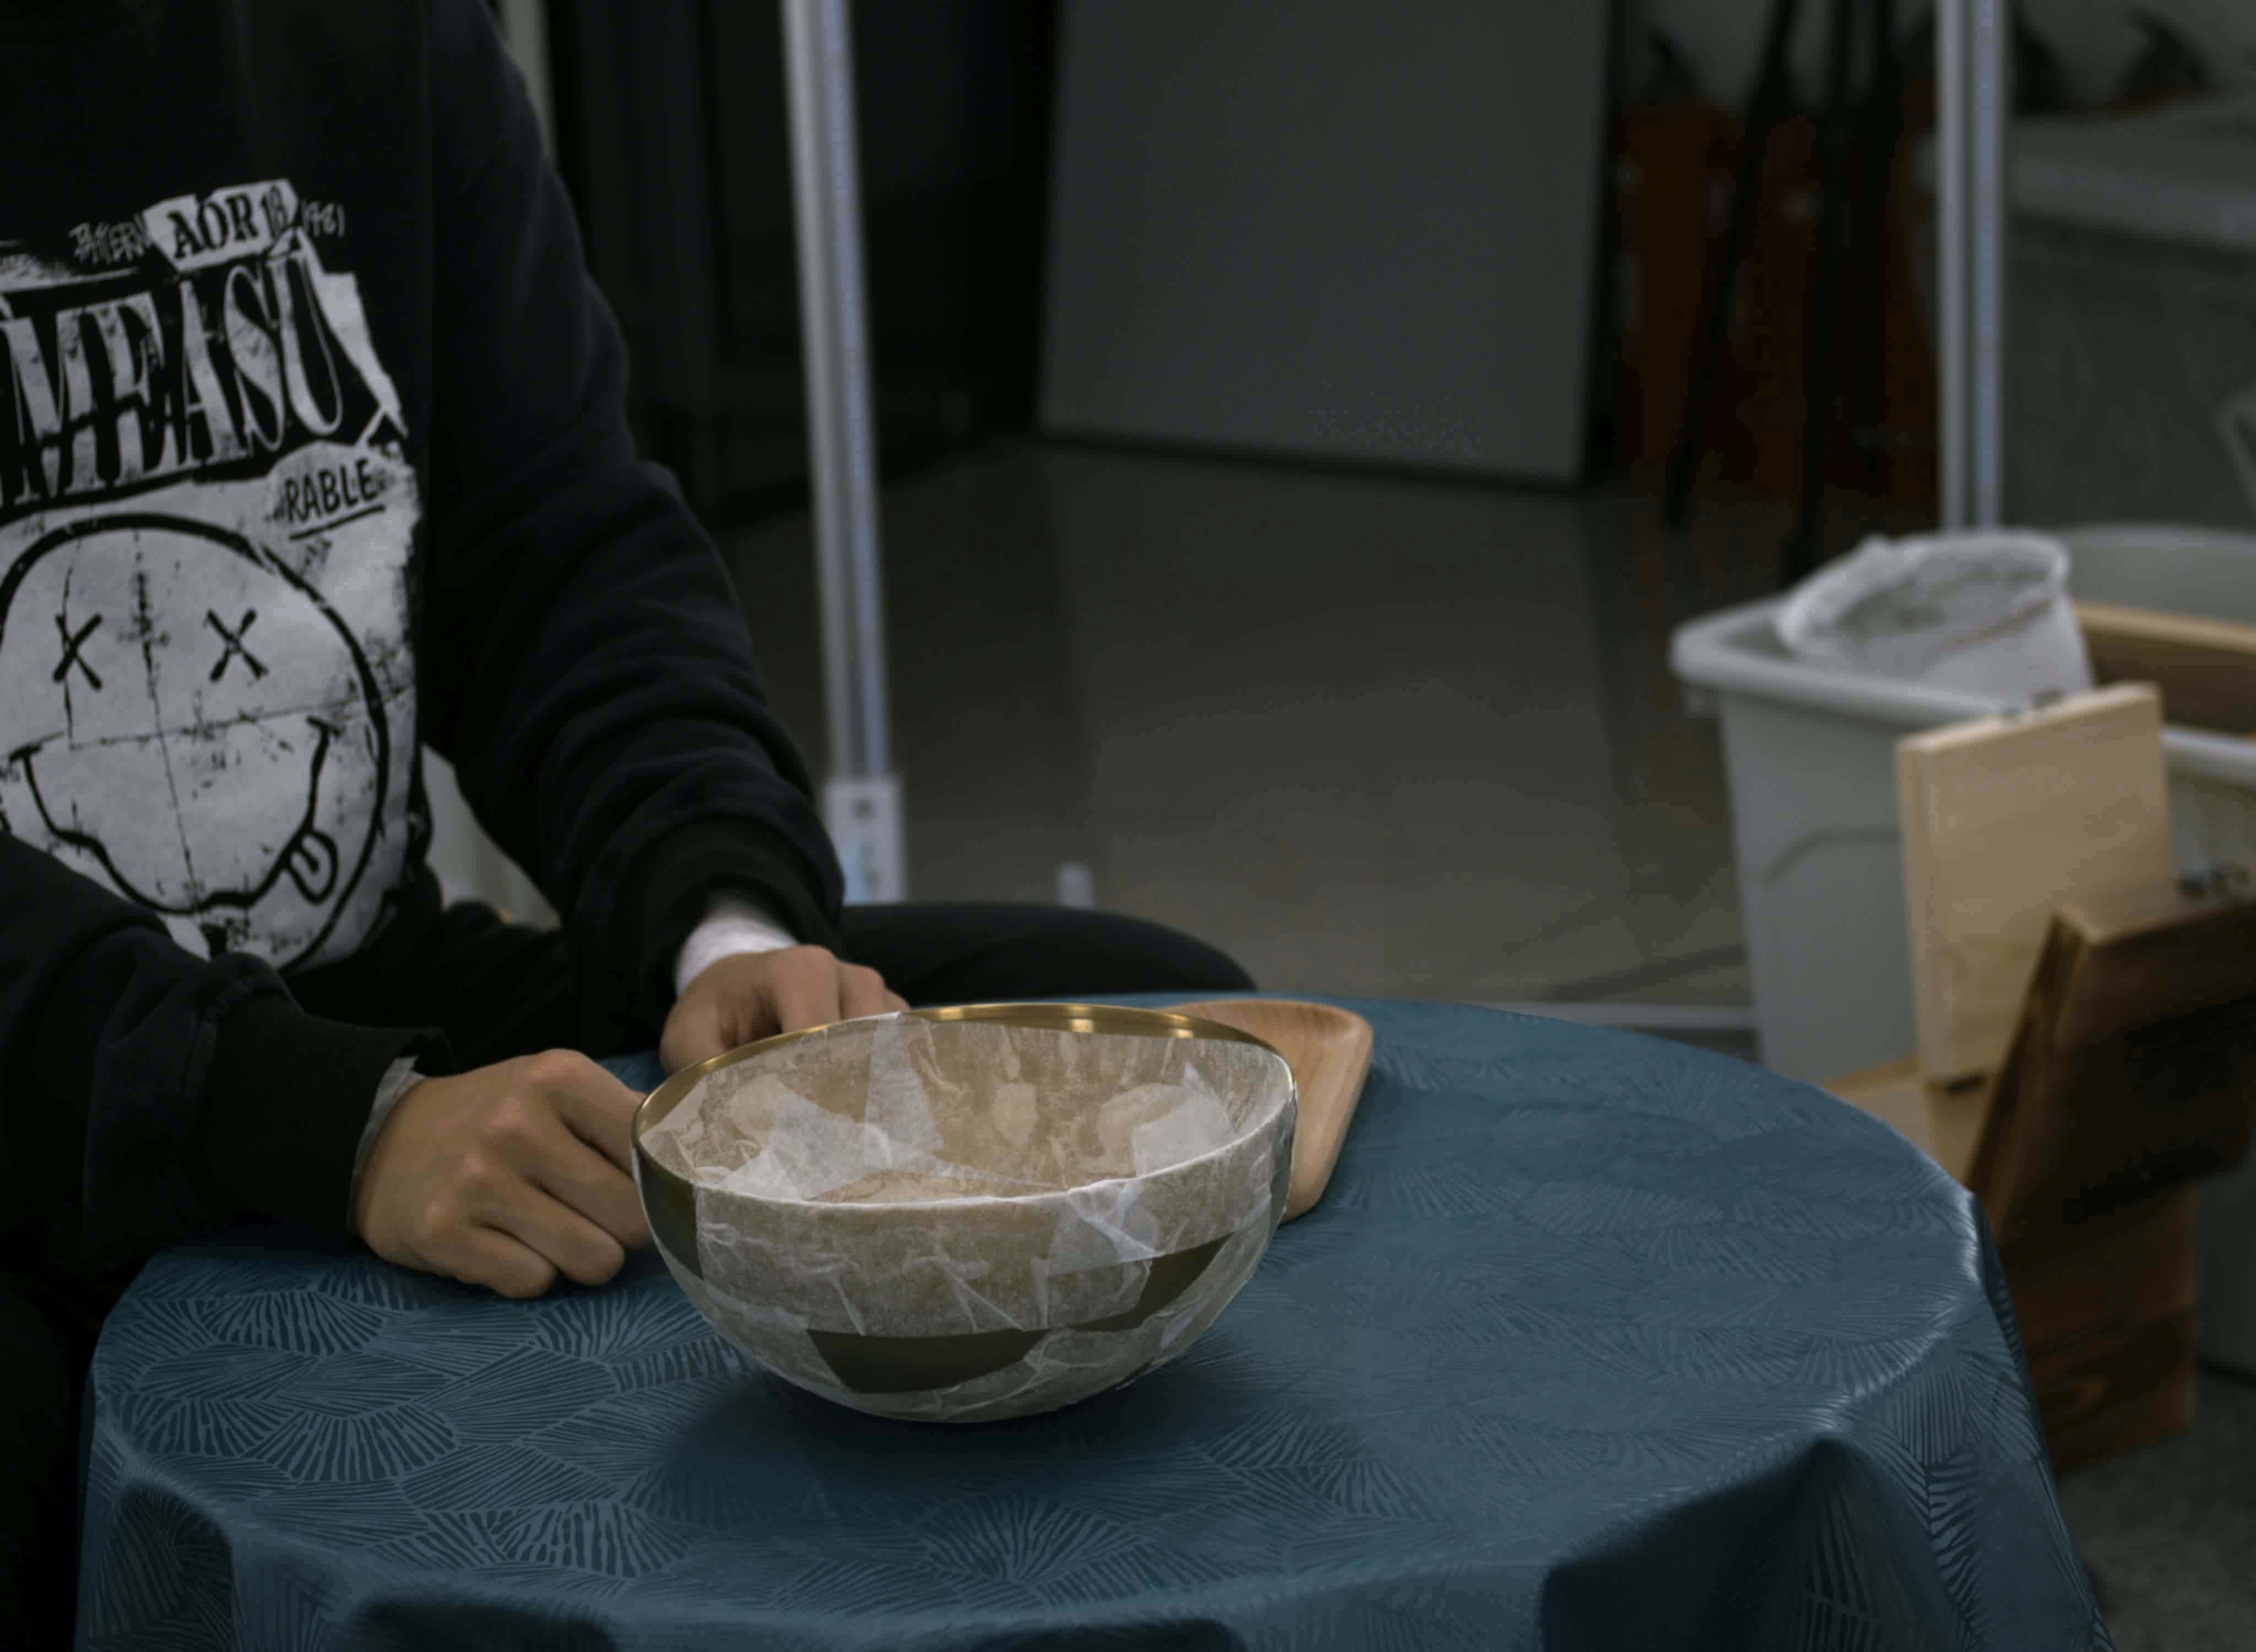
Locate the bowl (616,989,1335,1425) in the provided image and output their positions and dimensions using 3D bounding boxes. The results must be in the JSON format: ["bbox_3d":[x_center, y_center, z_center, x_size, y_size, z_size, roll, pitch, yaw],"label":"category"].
[{"bbox_3d":[-0.043,0.121,1.593,0.212,0.095,0.215,-5,14,0],"label":"bowl"}]

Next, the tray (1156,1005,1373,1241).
[{"bbox_3d":[0.028,0.100,1.817,0.101,0.020,0.230,-5,16,9],"label":"tray"}]
